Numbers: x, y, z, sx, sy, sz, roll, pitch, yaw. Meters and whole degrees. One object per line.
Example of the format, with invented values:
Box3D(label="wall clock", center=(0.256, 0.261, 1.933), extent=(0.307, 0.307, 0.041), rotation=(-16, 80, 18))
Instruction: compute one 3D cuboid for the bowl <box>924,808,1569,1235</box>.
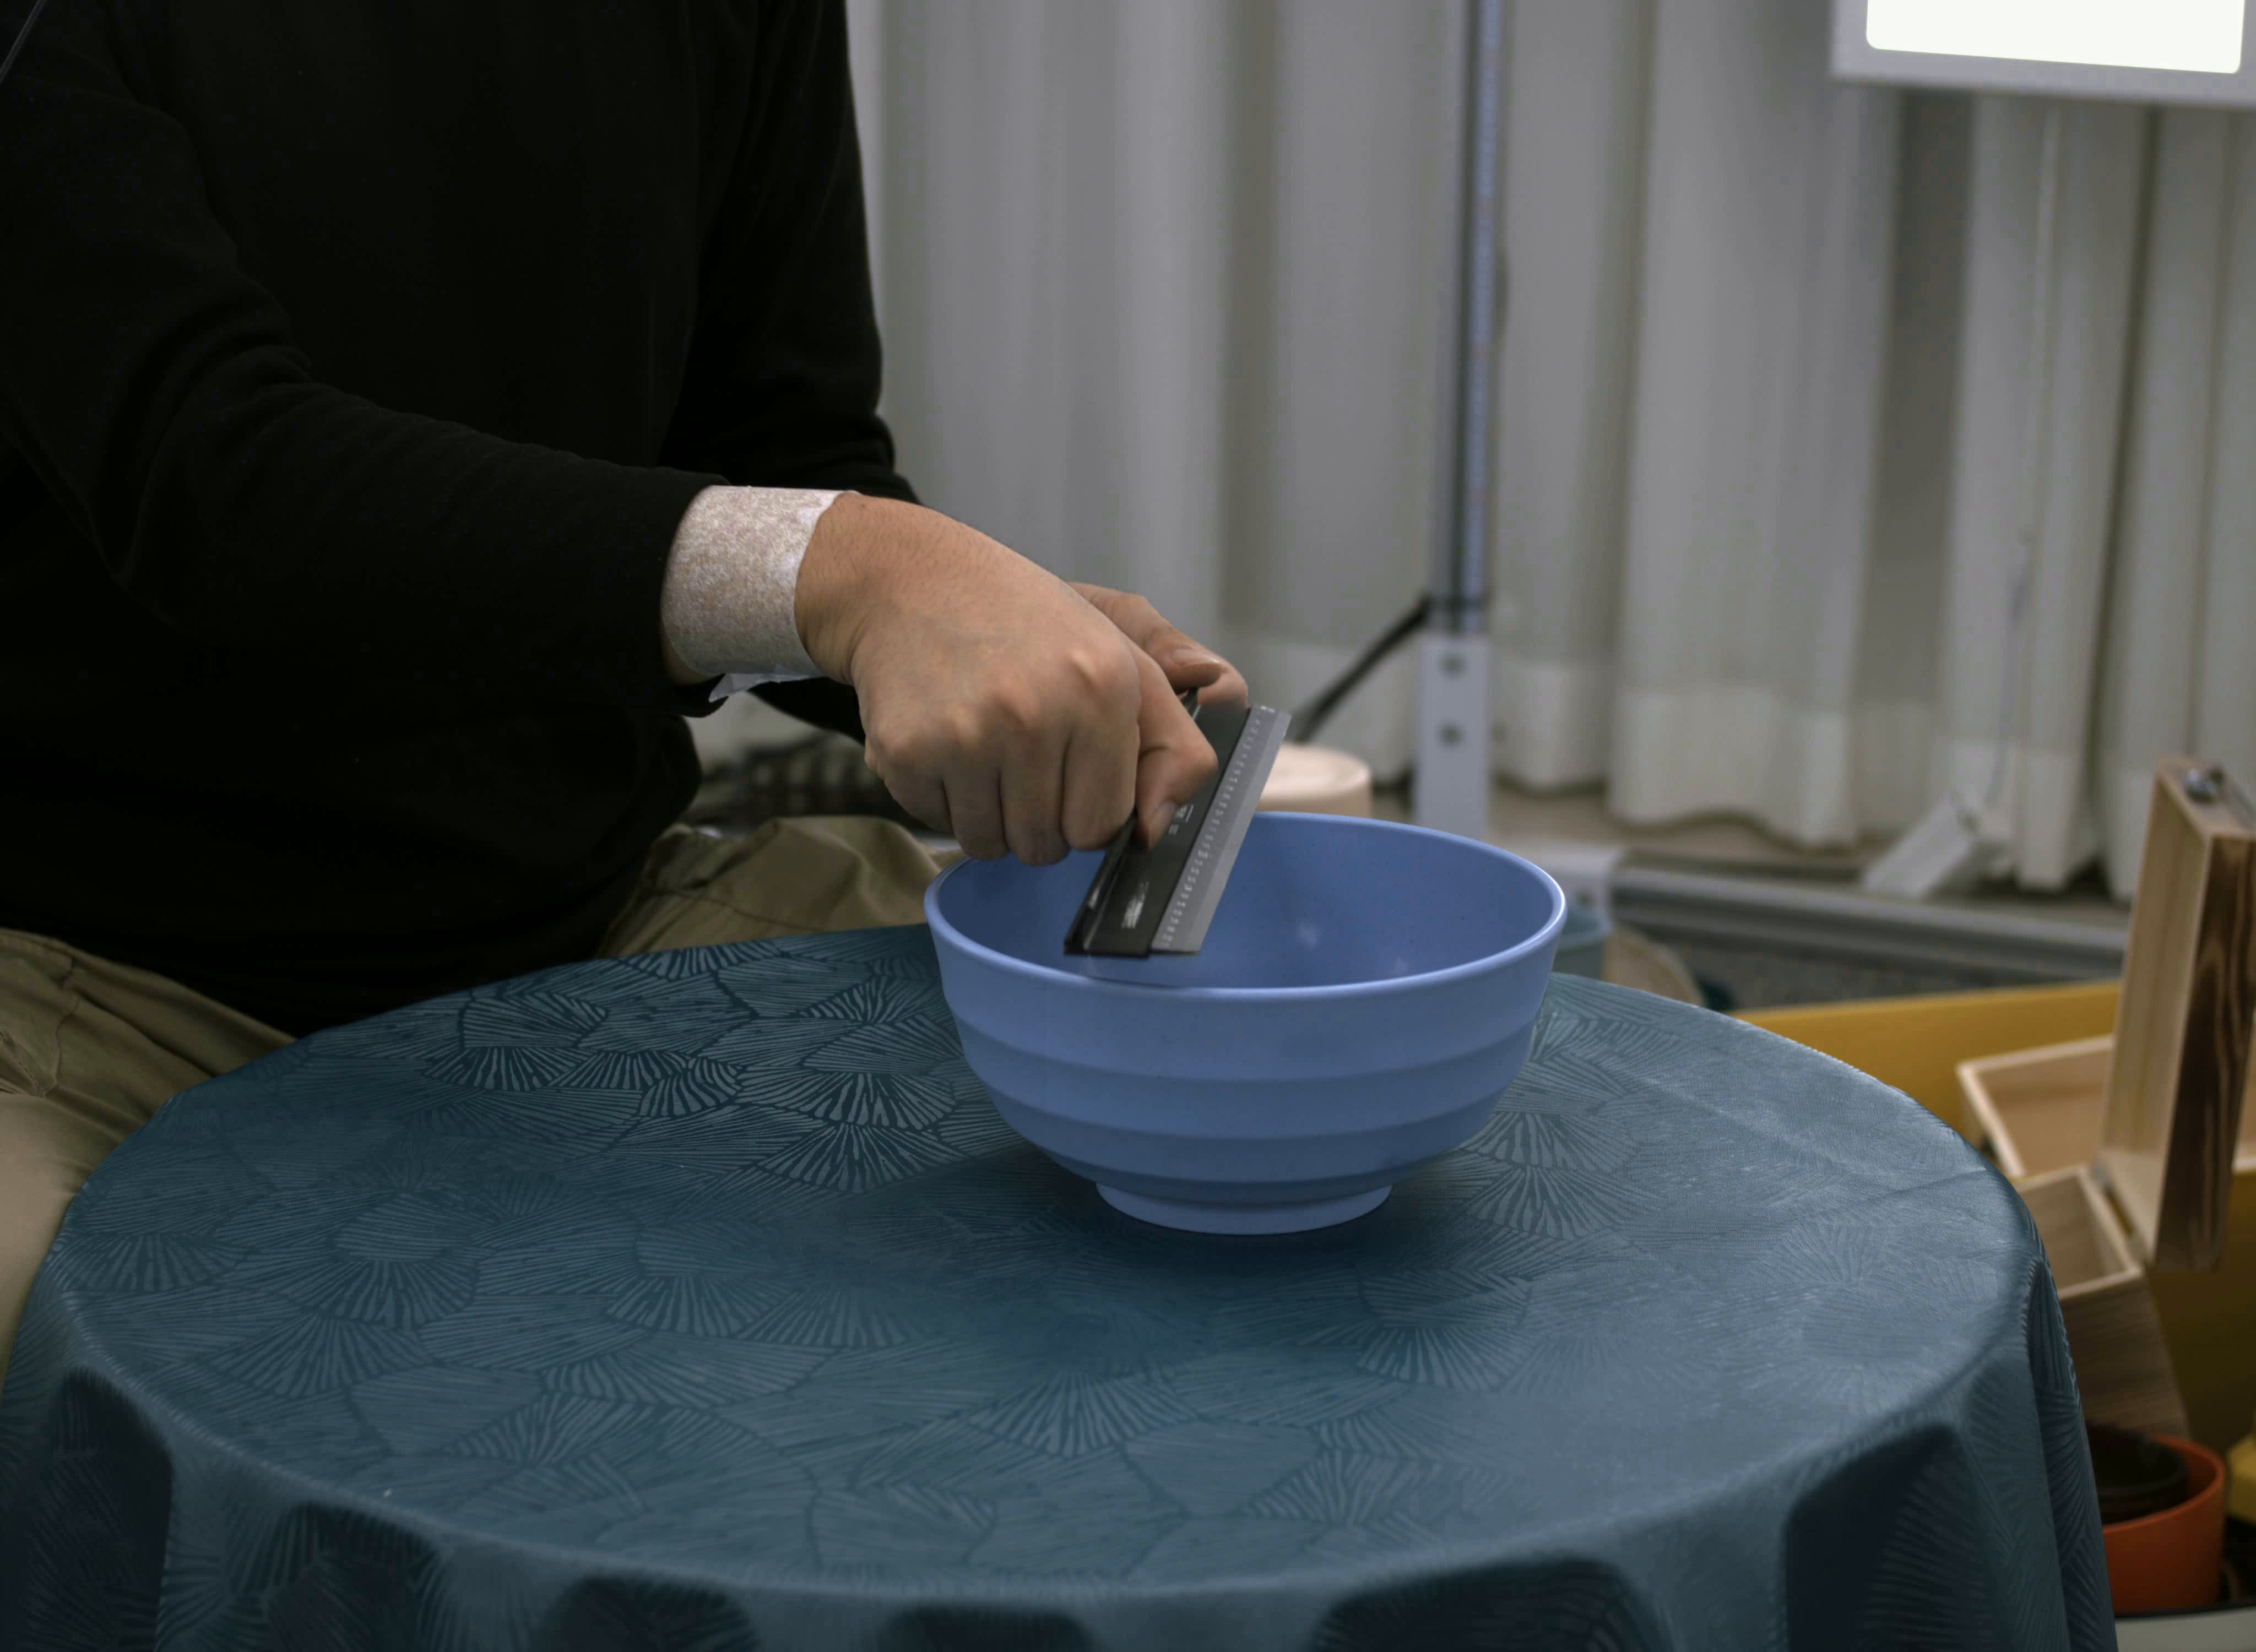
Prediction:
Box3D(label="bowl", center=(0.035, 0.065, 1.612), extent=(0.196, 0.096, 0.195), rotation=(1, 16, 0))

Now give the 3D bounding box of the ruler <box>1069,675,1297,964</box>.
Box3D(label="ruler", center=(0.020, -0.006, 1.646), extent=(0.039, 0.017, 0.311), rotation=(7, 15, 6))
